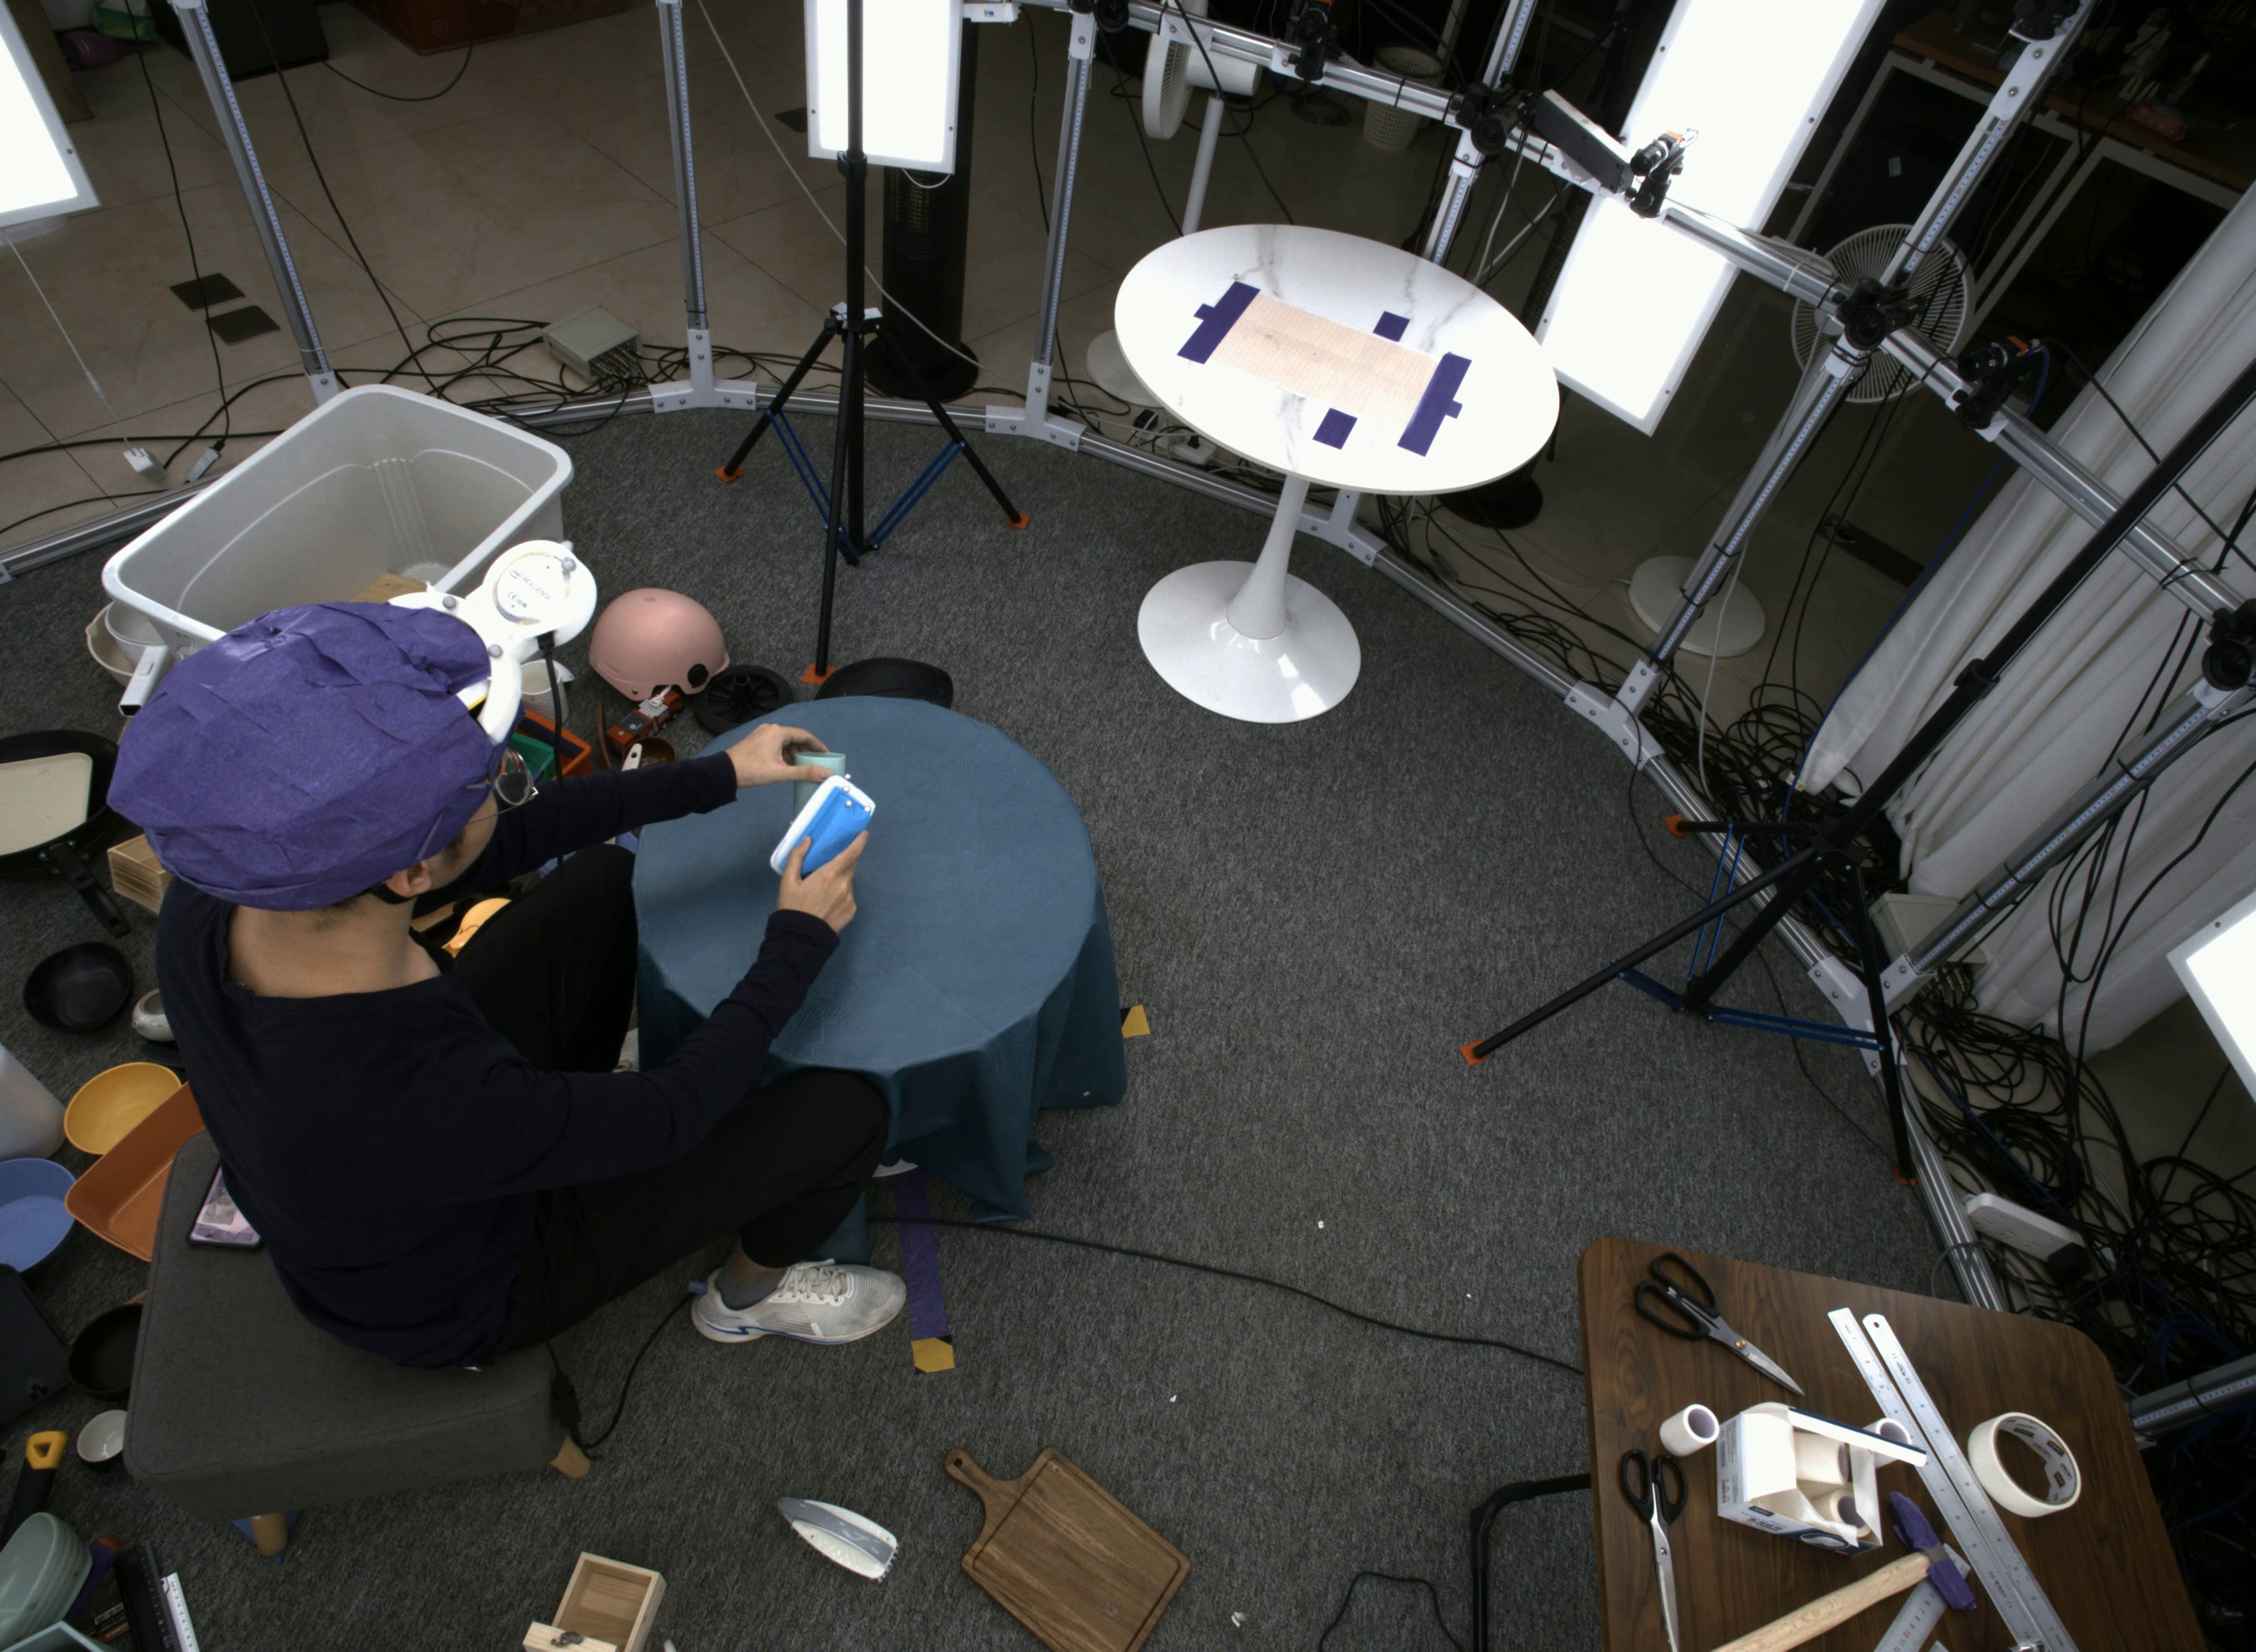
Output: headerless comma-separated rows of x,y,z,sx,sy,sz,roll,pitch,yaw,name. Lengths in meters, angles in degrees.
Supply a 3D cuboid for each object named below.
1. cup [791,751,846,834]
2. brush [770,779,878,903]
-0.388,-0.024,1.618,0.066,0.135,0.066,6,11,0,cup
-0.363,0.018,1.569,0.087,0.054,0.144,41,75,-33,brush
